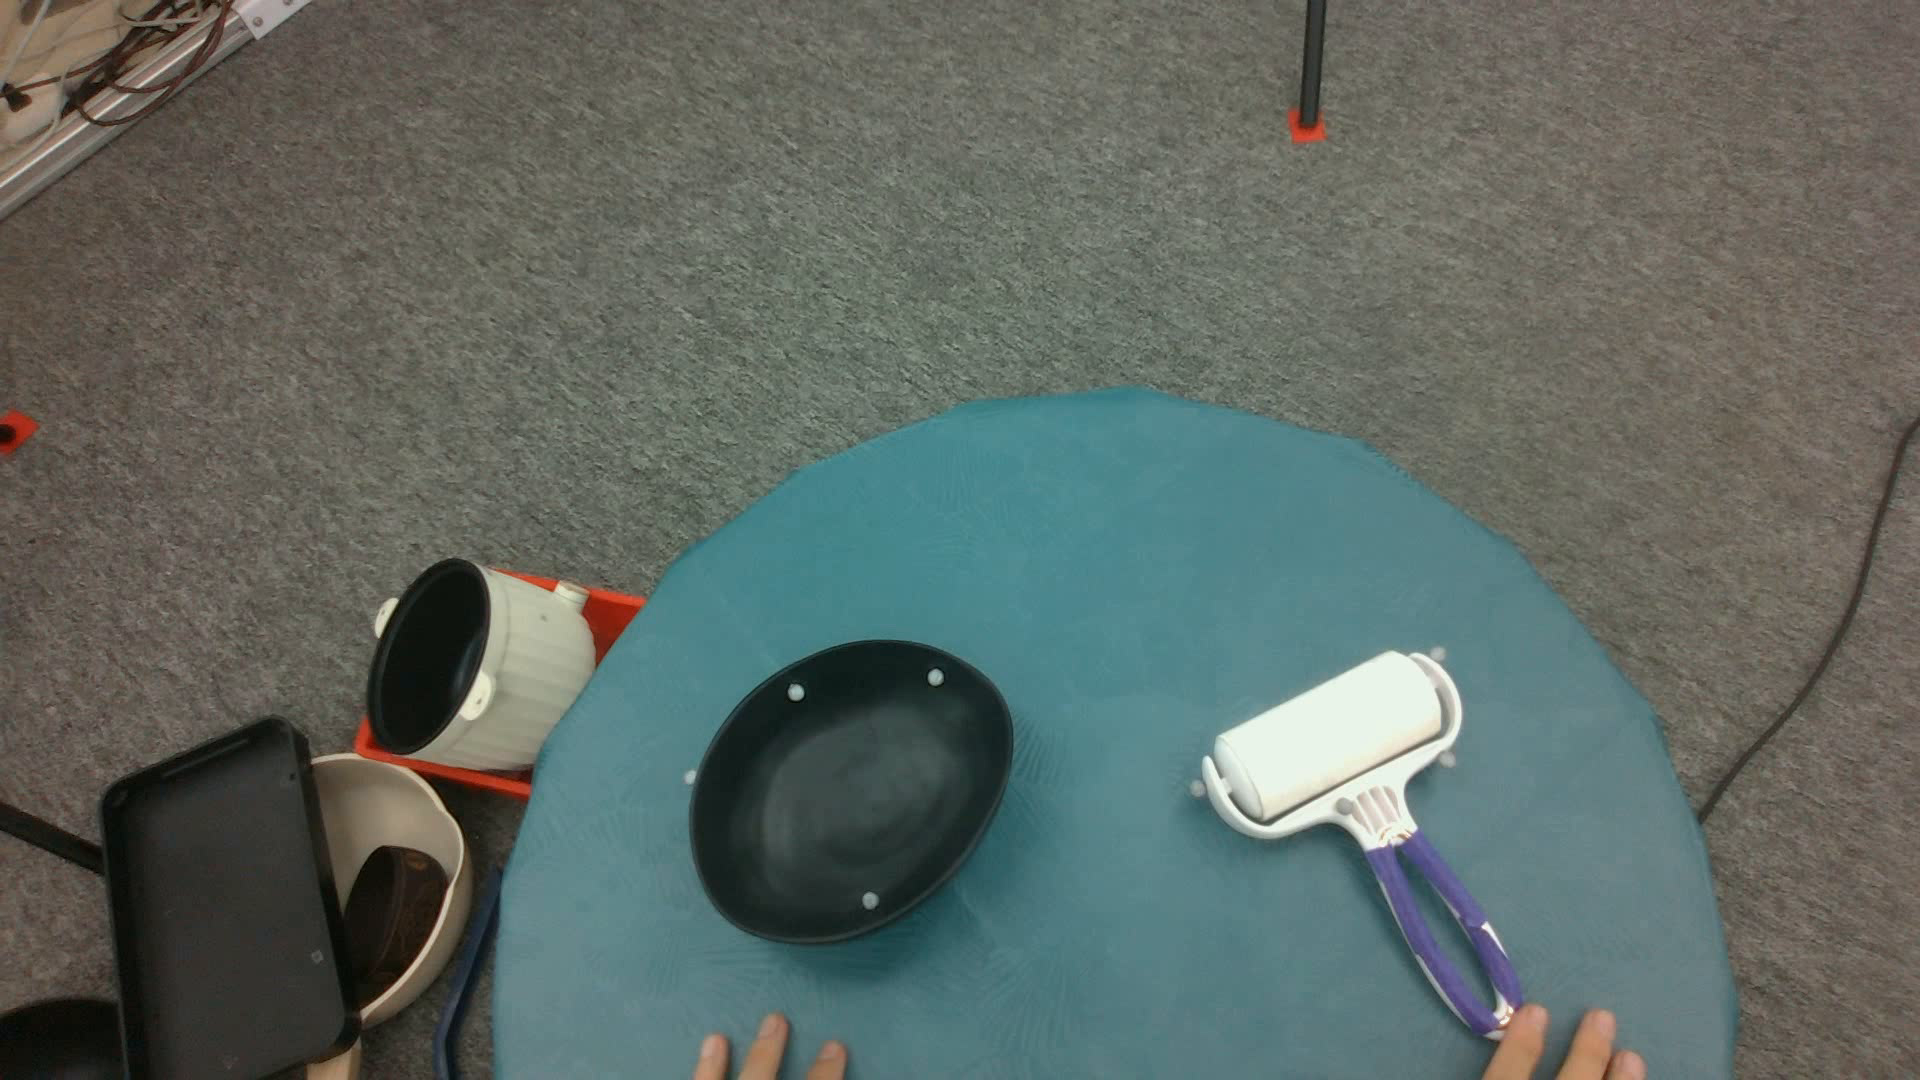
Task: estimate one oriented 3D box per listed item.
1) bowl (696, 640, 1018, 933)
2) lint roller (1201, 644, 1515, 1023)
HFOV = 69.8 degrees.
[{"bbox_3d":[-0.049,0.127,0.698,0.171,0.066,0.137,-38,66,-15],"label":"bowl"},{"bbox_3d":[0.210,0.146,0.667,0.133,0.050,0.181,-23,60,-6],"label":"lint roller"}]
